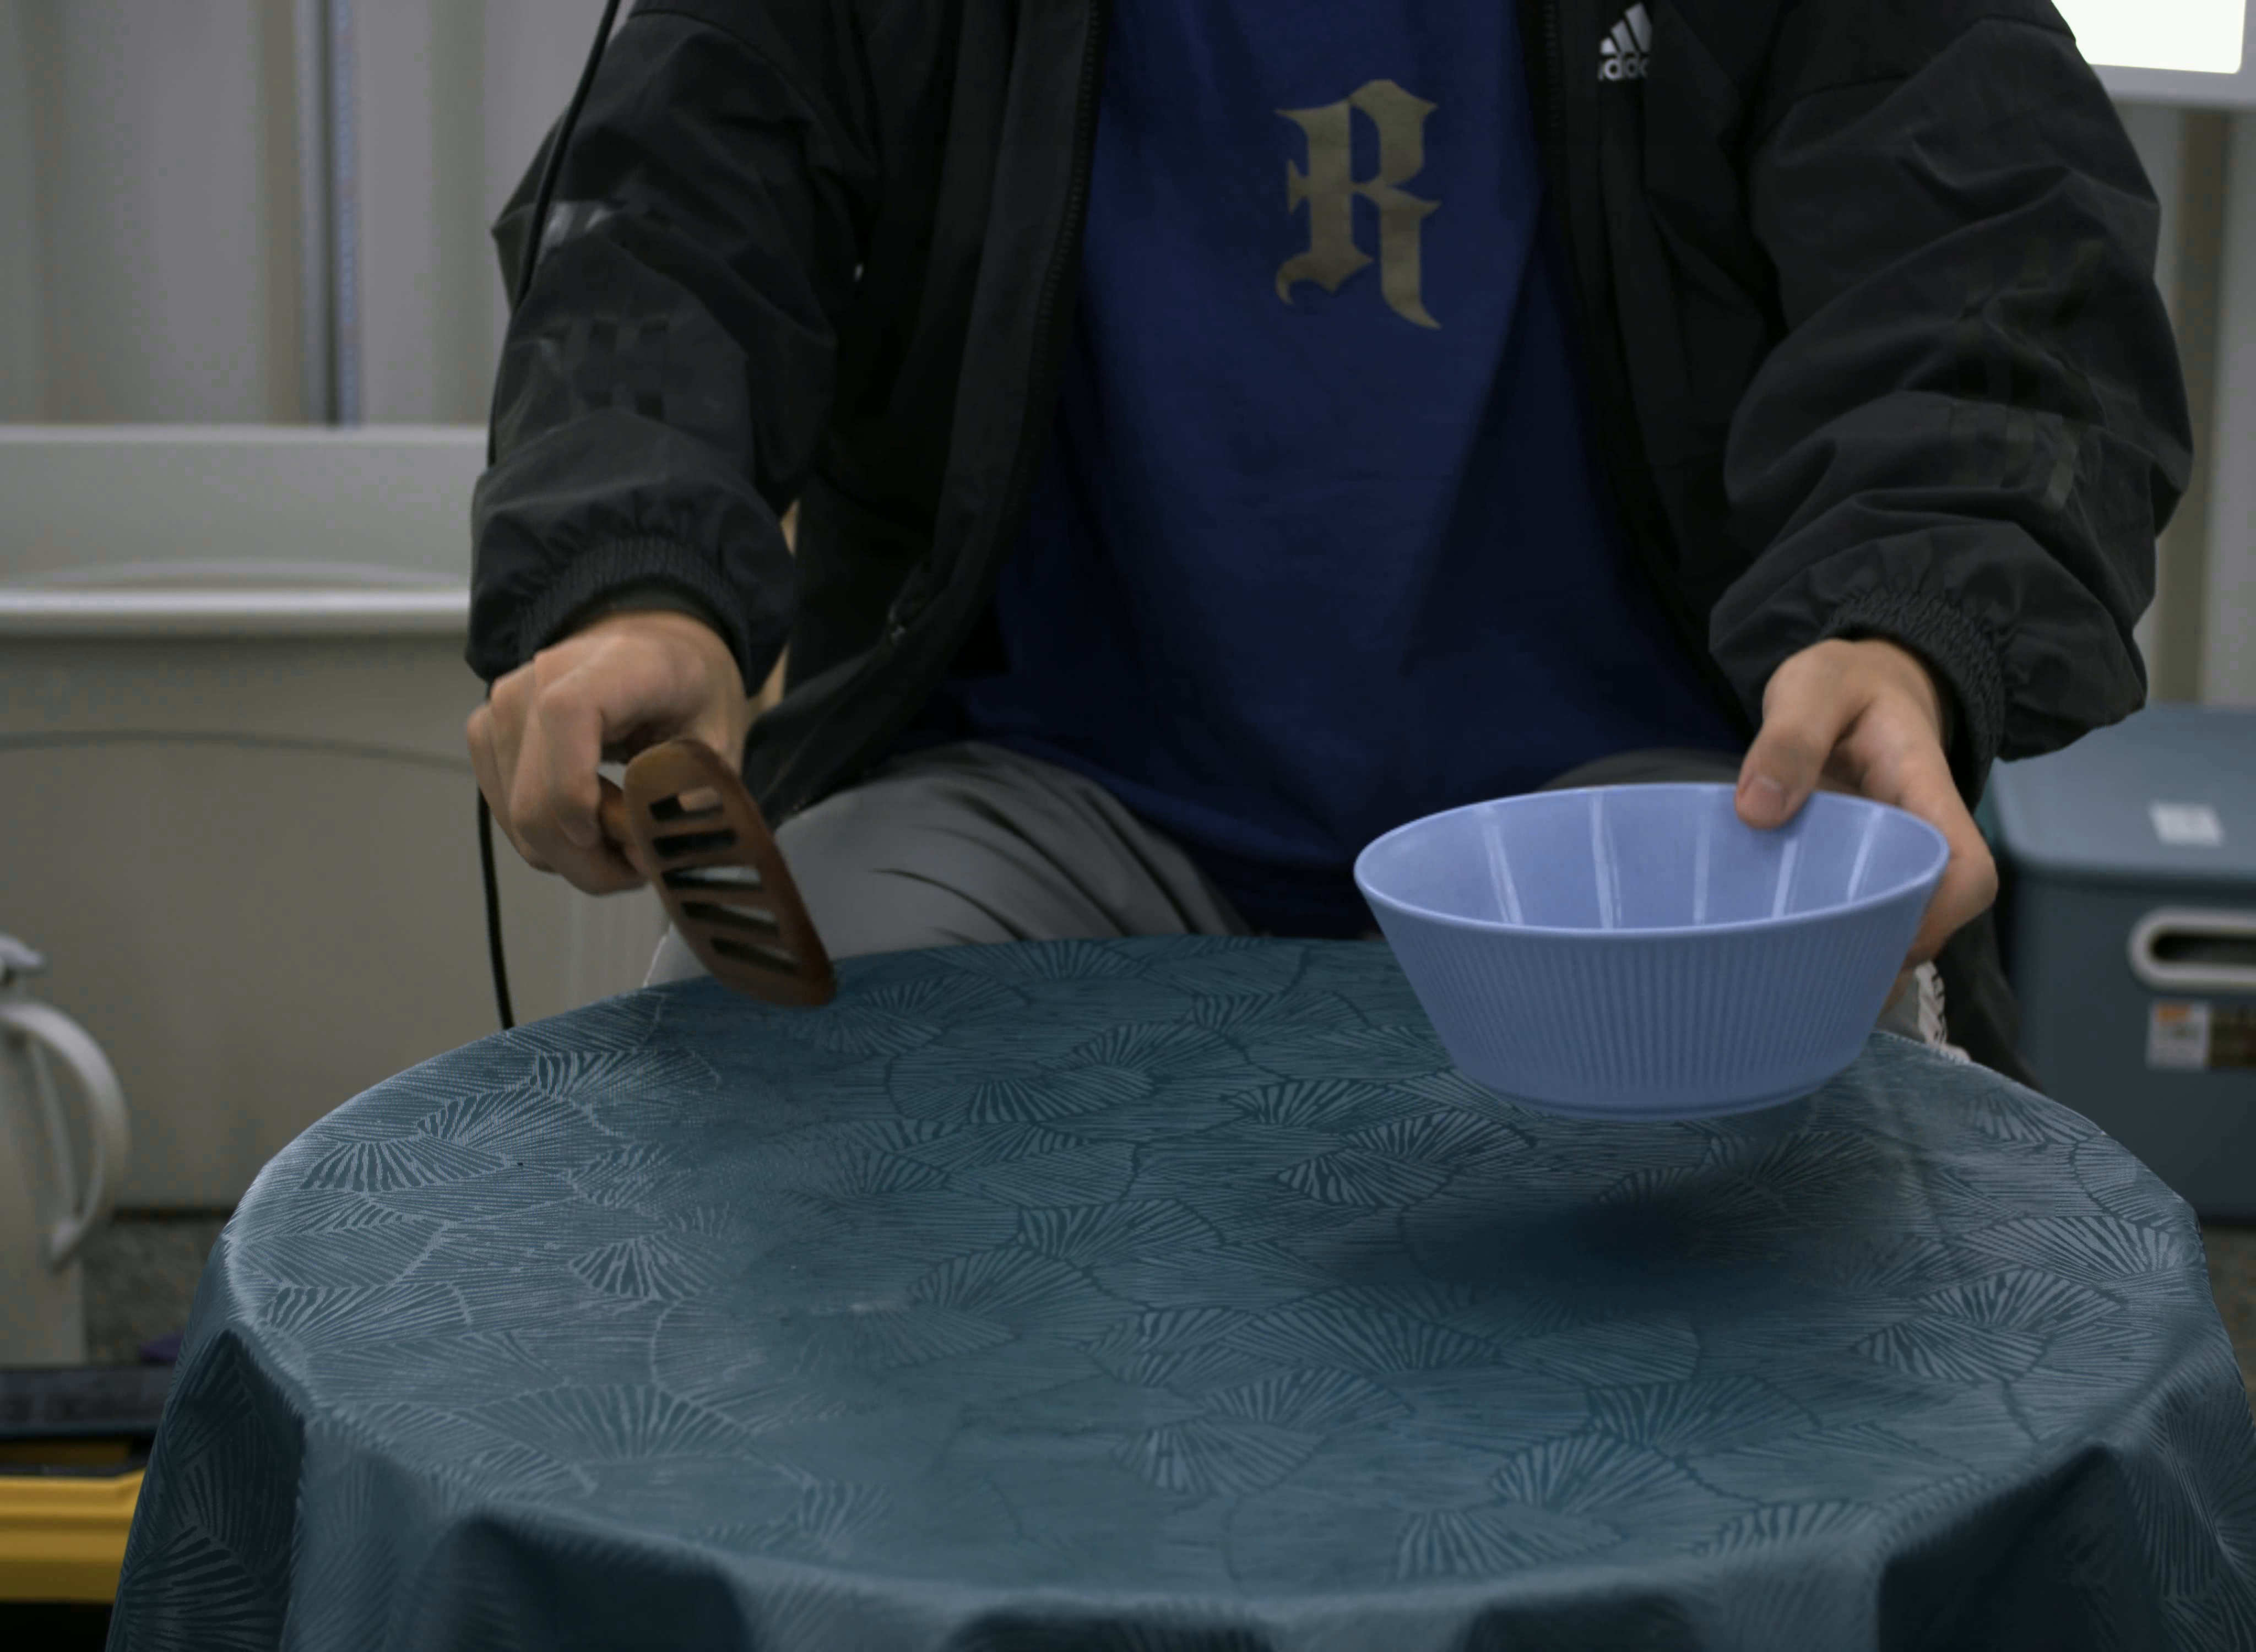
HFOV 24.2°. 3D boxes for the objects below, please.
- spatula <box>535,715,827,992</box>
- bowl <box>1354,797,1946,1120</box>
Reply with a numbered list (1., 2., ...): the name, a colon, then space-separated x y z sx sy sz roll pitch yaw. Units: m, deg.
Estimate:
1. spatula: -0.151 0.003 1.627 0.024 0.086 0.384 -26 8 -12
2. bowl: 0.155 0.041 1.564 0.175 0.071 0.175 -2 12 1
